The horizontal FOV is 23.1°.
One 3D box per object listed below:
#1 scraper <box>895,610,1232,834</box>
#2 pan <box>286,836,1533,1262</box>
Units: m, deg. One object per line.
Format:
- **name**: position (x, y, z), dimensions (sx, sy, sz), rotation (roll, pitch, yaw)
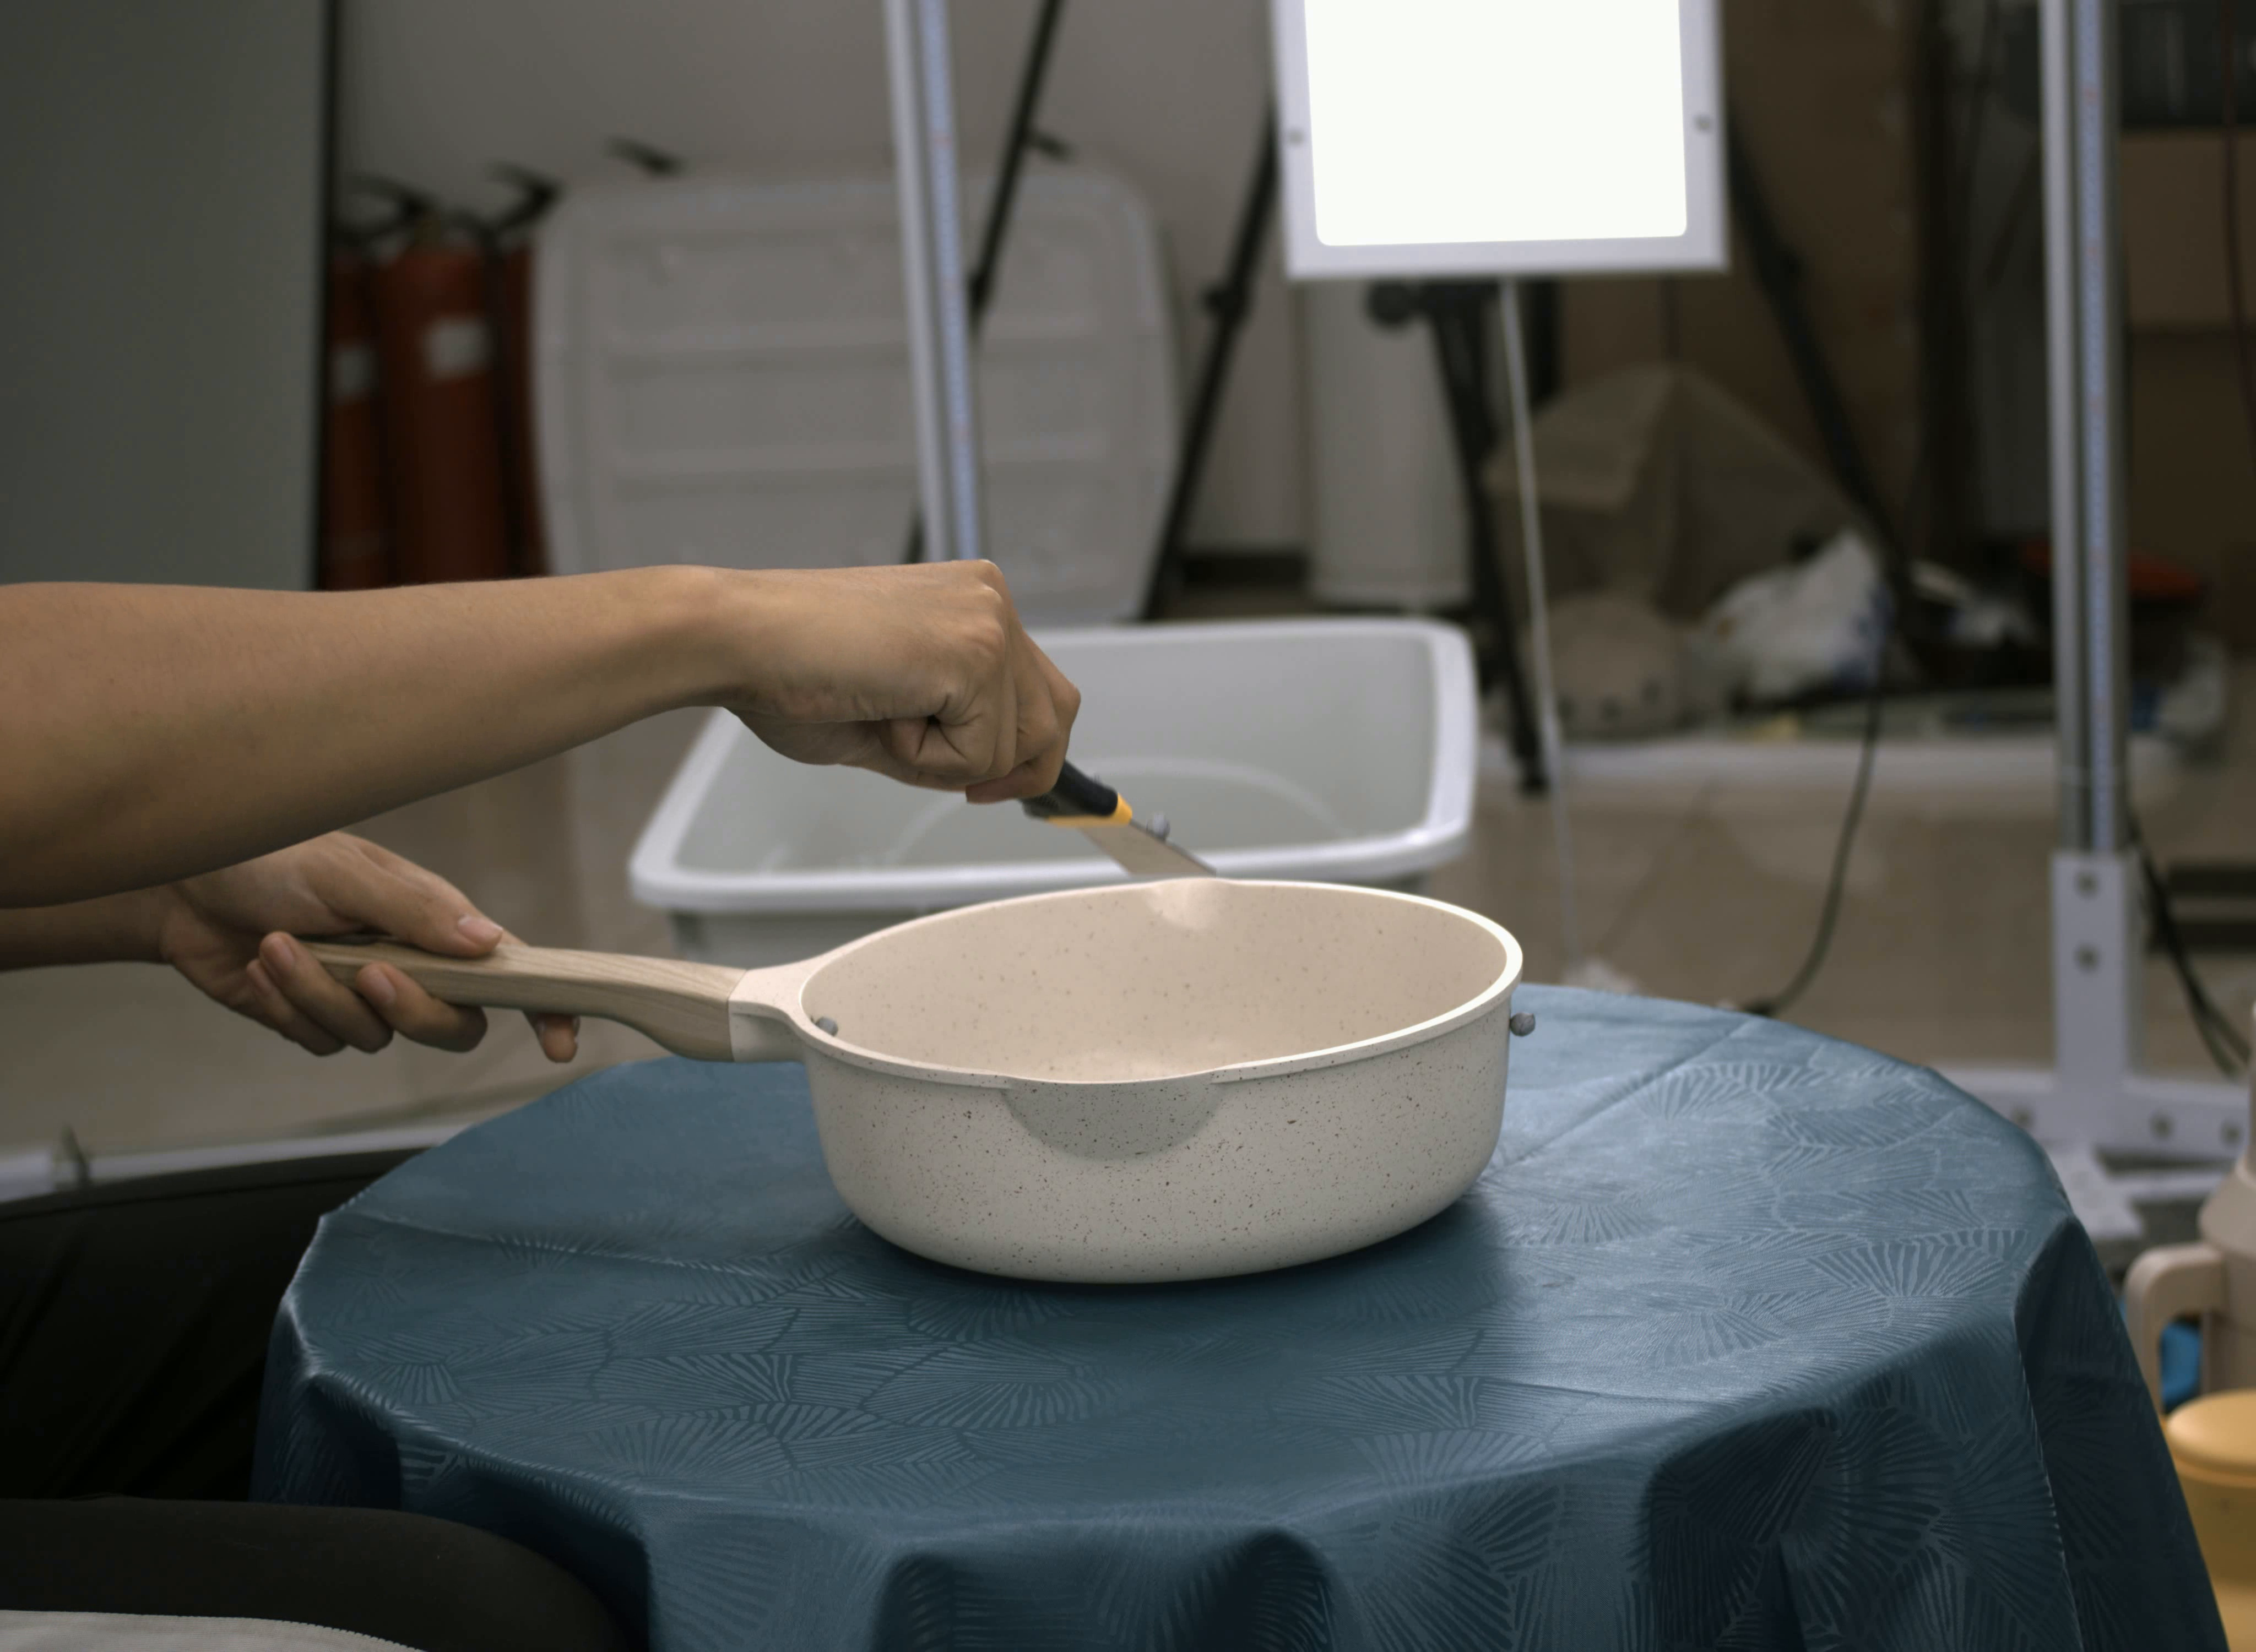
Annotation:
- **scraper**: position (-0.021, -0.031, 1.768), dimensions (0.039, 0.015, 0.168), rotation (5, -20, 36)
- **pan**: position (-0.074, 0.076, 1.910), dimensions (0.437, 0.102, 0.261), rotation (-3, 16, 9)
